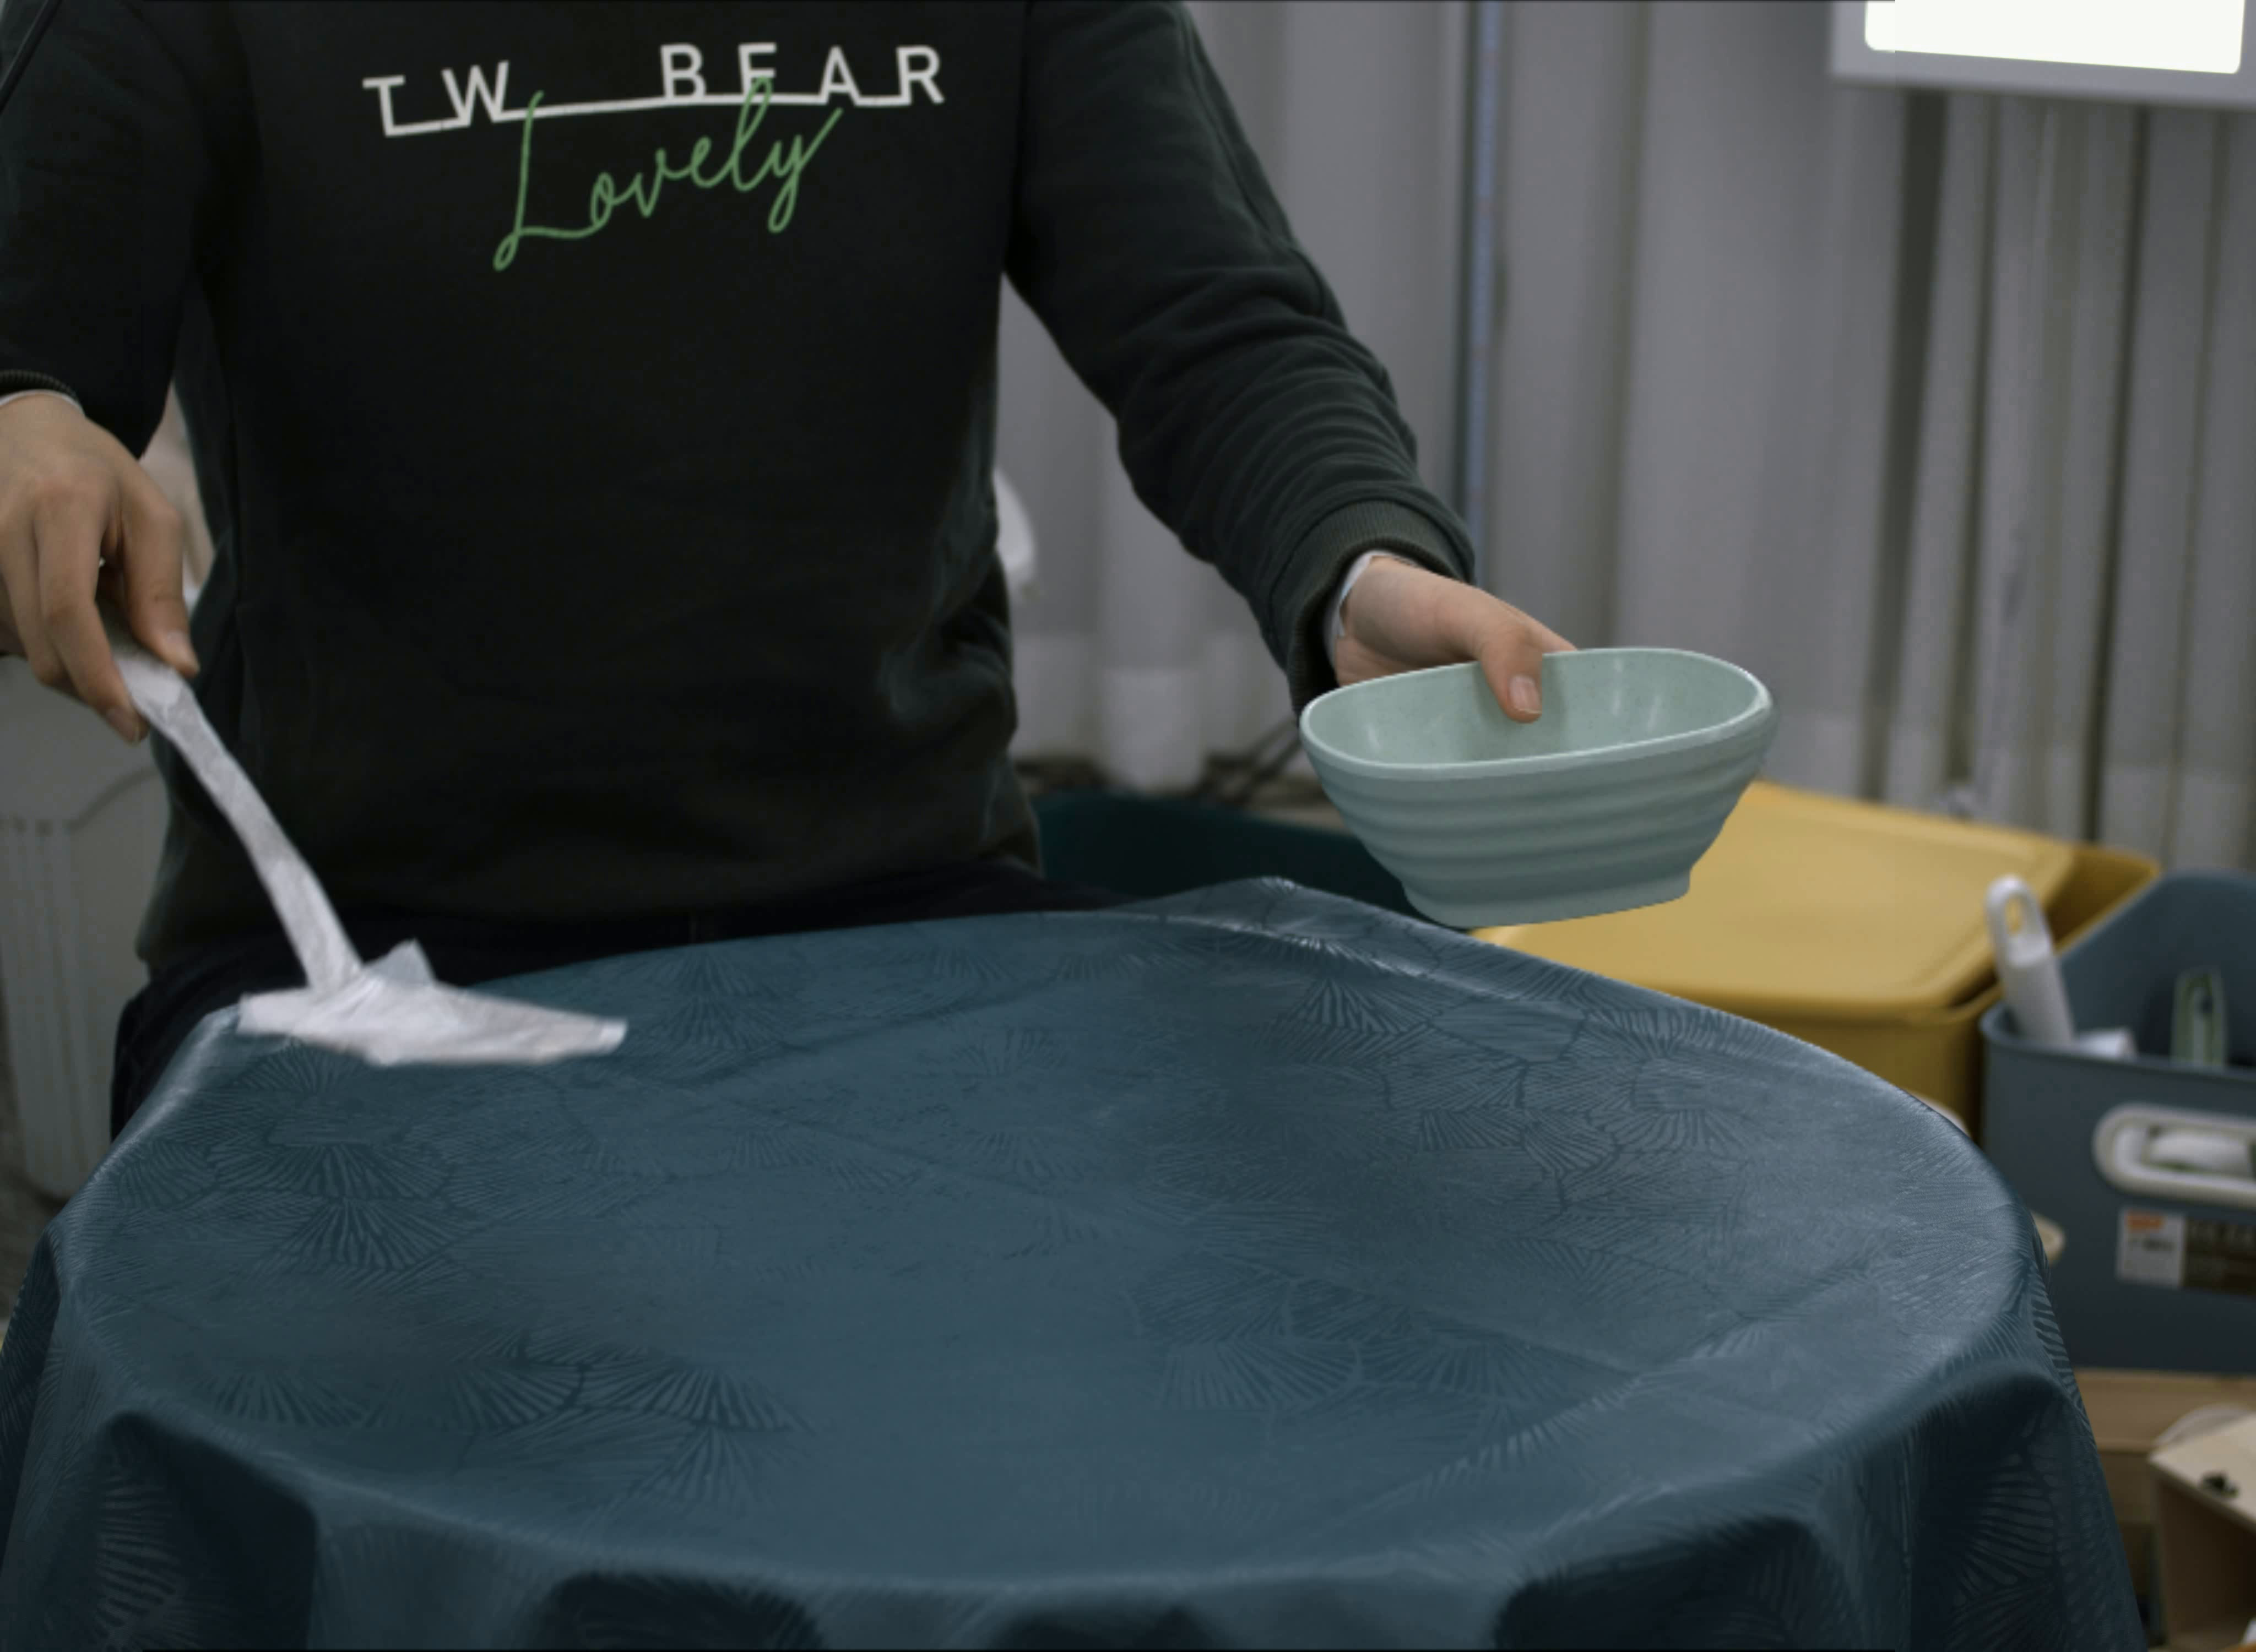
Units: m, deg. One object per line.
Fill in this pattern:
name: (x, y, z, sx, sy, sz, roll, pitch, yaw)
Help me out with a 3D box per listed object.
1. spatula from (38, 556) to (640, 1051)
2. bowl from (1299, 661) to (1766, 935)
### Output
spatula: (-0.258, -0.014, 1.556, 0.099, 0.045, 0.360, -2, 32, -33)
bowl: (0.124, -0.007, 1.600, 0.151, 0.059, 0.151, -4, 14, 2)
